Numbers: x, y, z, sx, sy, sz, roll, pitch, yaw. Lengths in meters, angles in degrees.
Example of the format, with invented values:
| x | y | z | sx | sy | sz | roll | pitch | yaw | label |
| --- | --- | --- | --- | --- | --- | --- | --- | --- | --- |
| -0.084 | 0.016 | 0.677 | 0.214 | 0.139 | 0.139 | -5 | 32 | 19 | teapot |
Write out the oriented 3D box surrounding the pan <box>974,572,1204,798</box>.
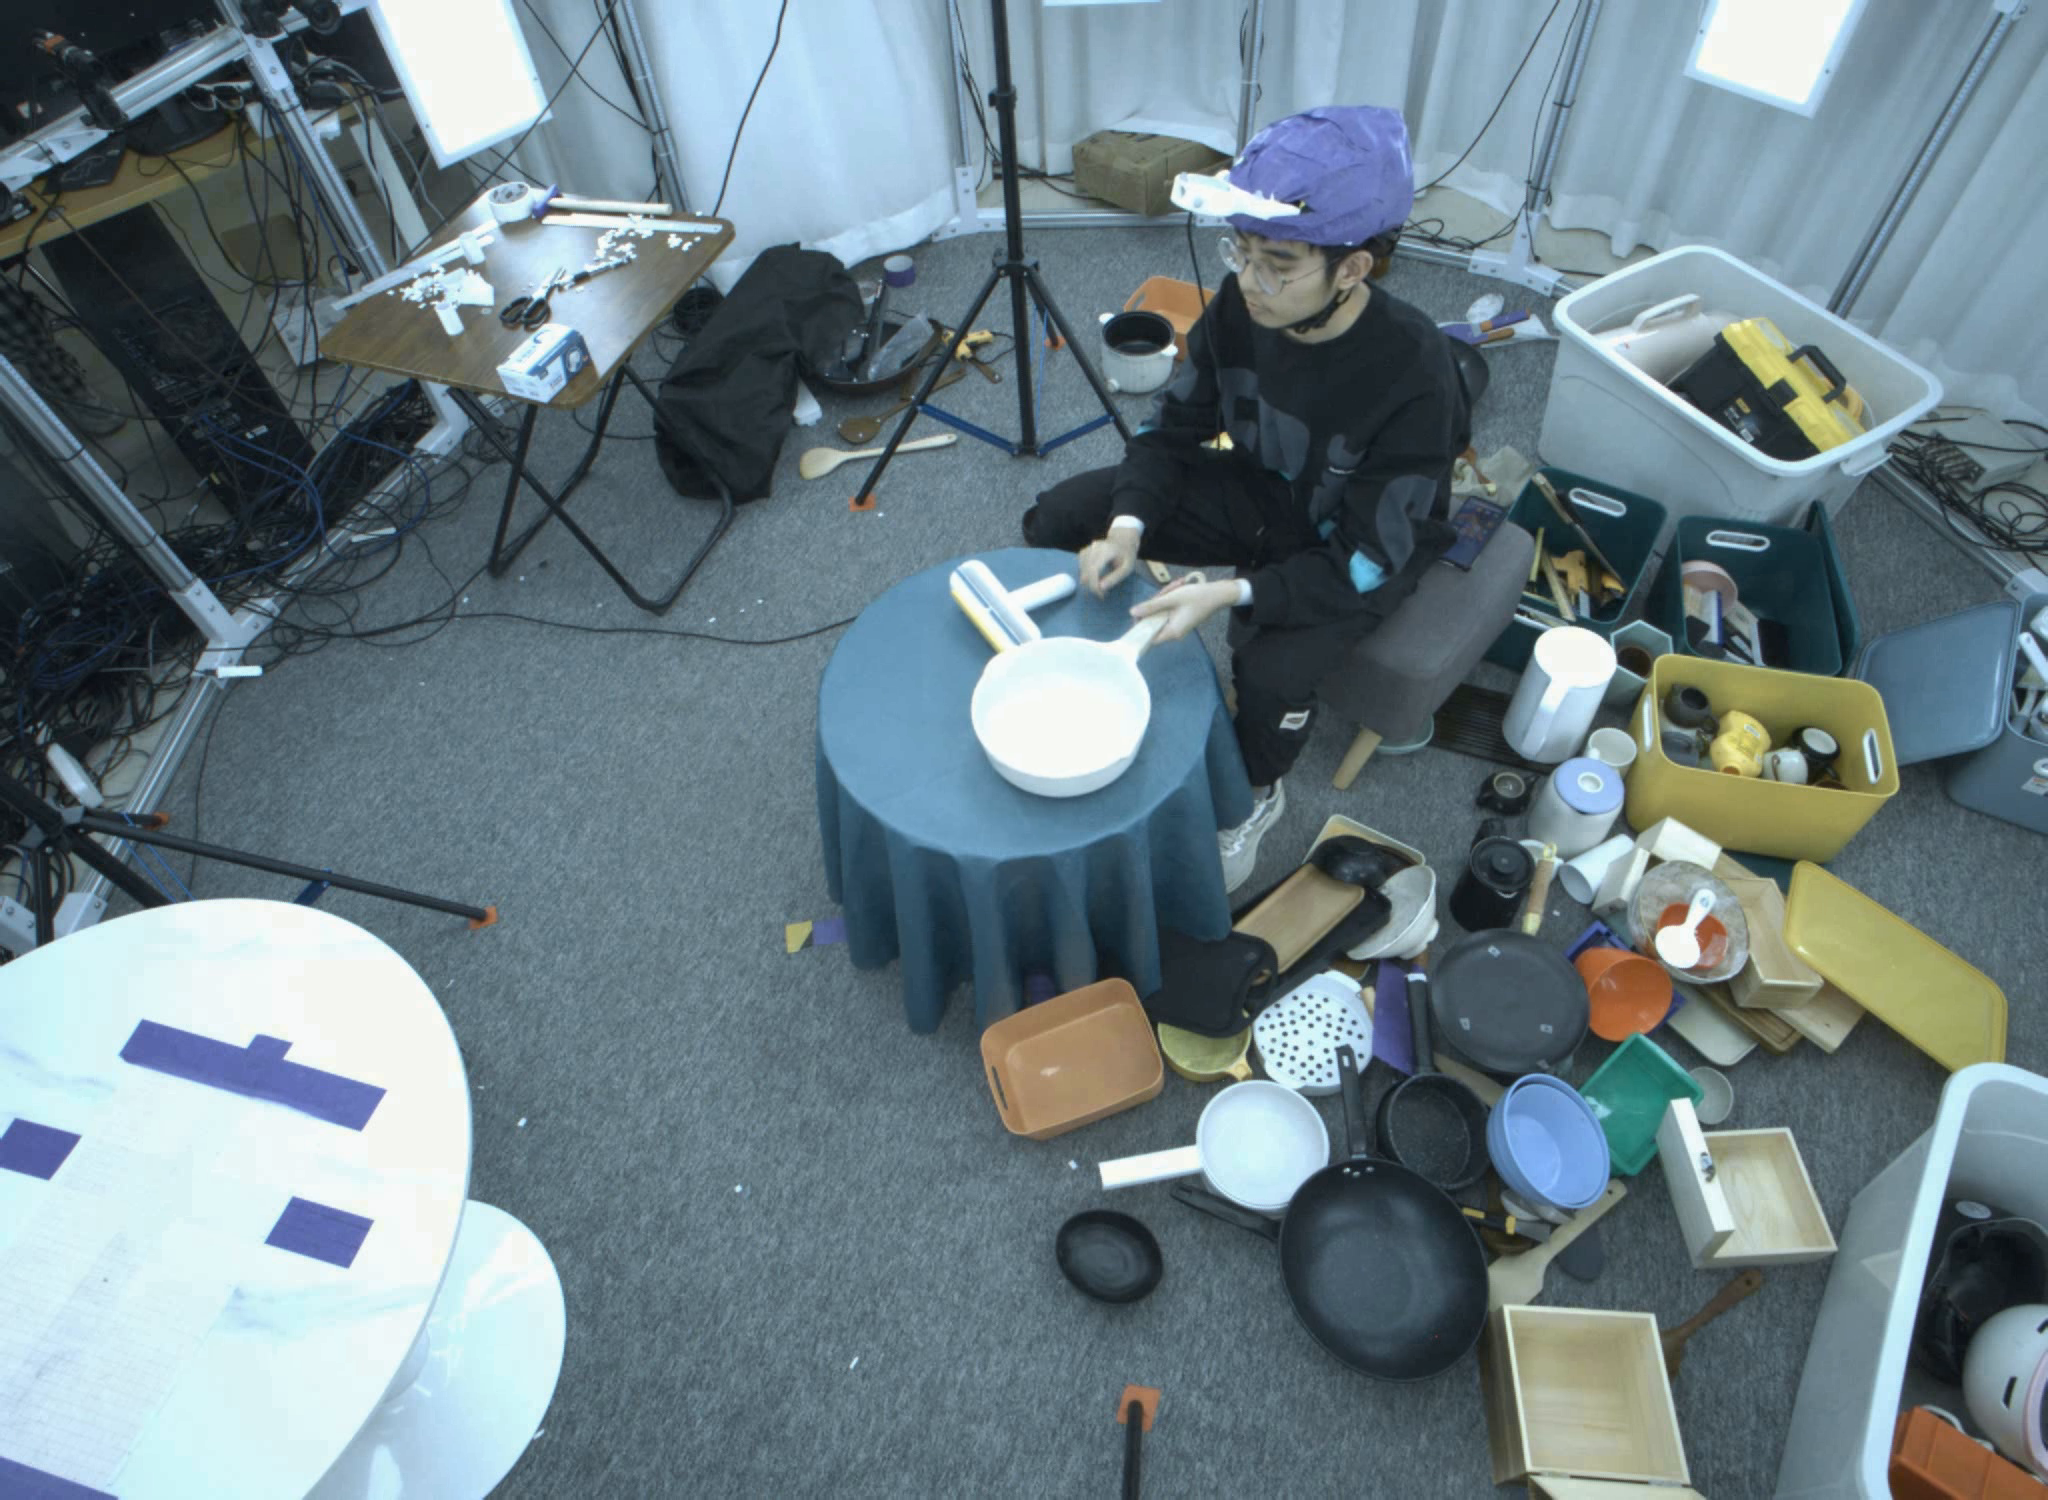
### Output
| x | y | z | sx | sy | sz | roll | pitch | yaw | label |
| --- | --- | --- | --- | --- | --- | --- | --- | --- | --- |
| 0.120 | -0.100 | 1.788 | 0.258 | 0.103 | 0.438 | 35 | 63 | 27 | pan |

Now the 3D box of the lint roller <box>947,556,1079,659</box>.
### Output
| x | y | z | sx | sy | sz | roll | pitch | yaw | label |
| --- | --- | --- | --- | --- | --- | --- | --- | --- | --- |
| 0.001 | -0.239 | 1.910 | 0.194 | 0.075 | 0.189 | -28 | 63 | -18 | lint roller |
